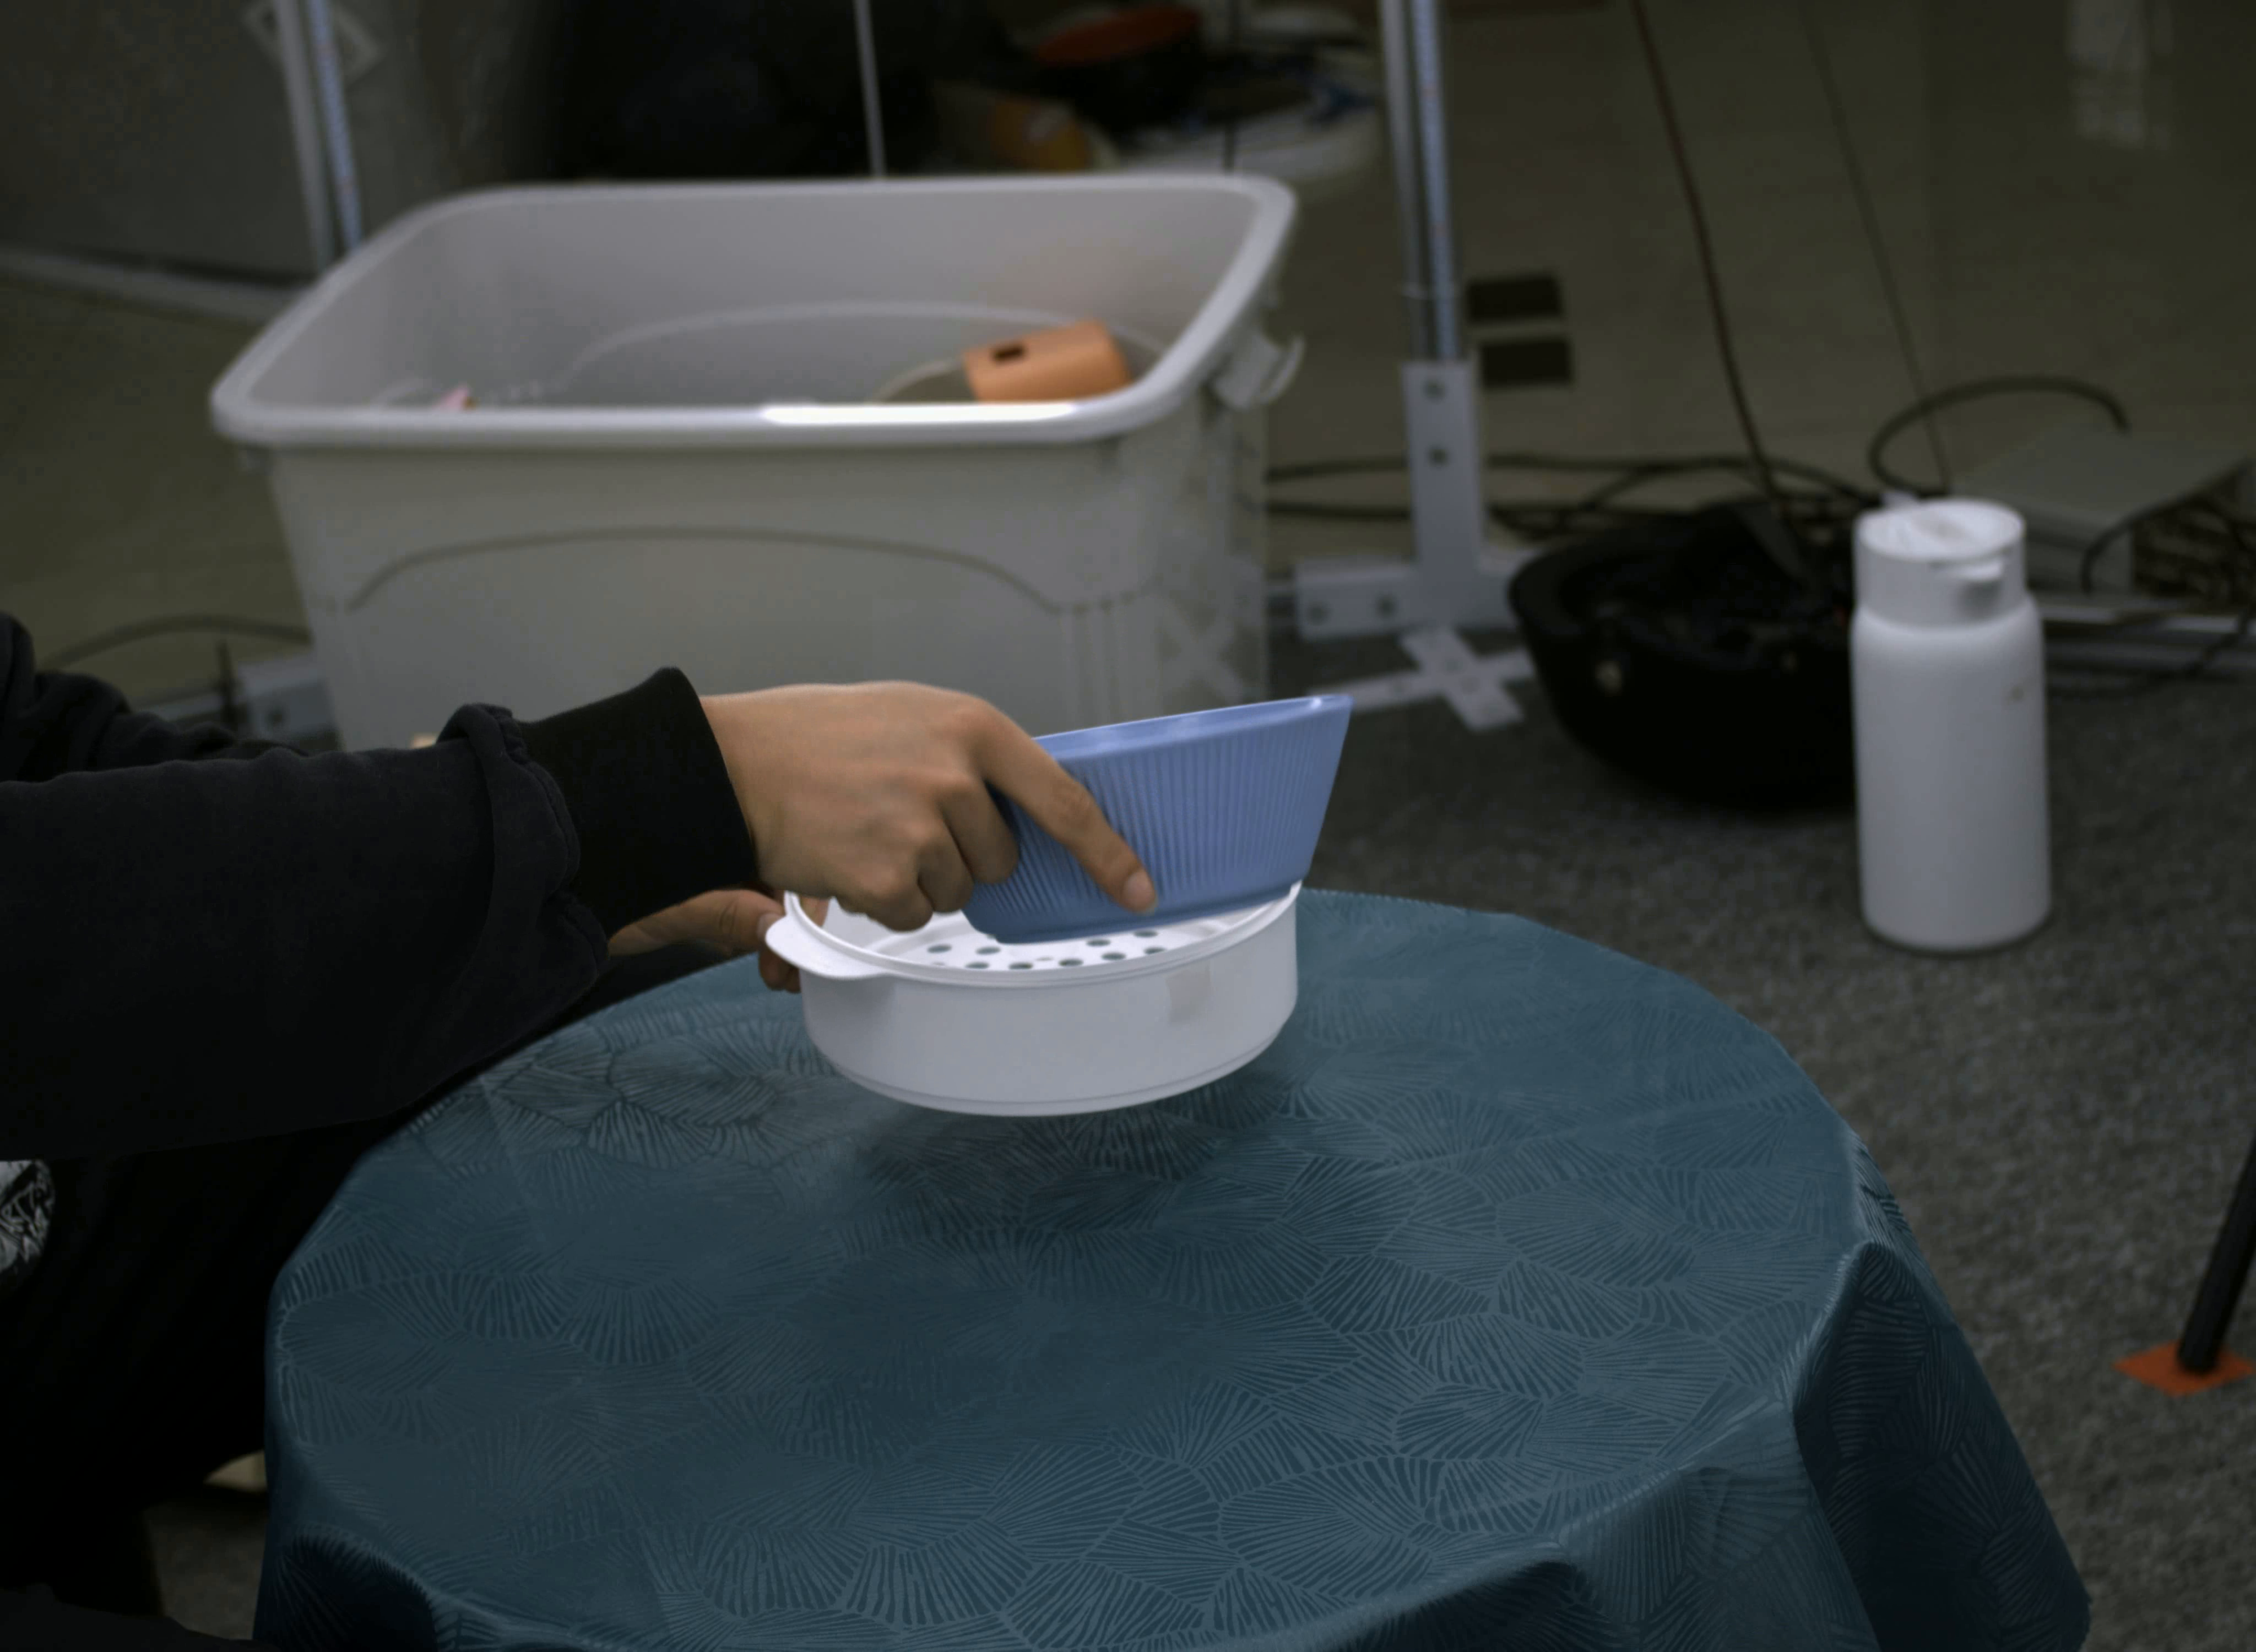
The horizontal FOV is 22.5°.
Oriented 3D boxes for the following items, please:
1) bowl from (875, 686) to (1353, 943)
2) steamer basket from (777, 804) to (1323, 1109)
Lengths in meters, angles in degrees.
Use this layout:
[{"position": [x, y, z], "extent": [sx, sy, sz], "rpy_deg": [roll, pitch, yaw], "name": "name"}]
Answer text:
[{"position": [0.000, -0.002, 2.037], "extent": [0.176, 0.070, 0.176], "rpy_deg": [-10, 2, 1], "name": "bowl"}, {"position": [-0.028, 0.047, 2.209], "extent": [0.229, 0.070, 0.200], "rpy_deg": [-14, 25, -31], "name": "steamer basket"}]
